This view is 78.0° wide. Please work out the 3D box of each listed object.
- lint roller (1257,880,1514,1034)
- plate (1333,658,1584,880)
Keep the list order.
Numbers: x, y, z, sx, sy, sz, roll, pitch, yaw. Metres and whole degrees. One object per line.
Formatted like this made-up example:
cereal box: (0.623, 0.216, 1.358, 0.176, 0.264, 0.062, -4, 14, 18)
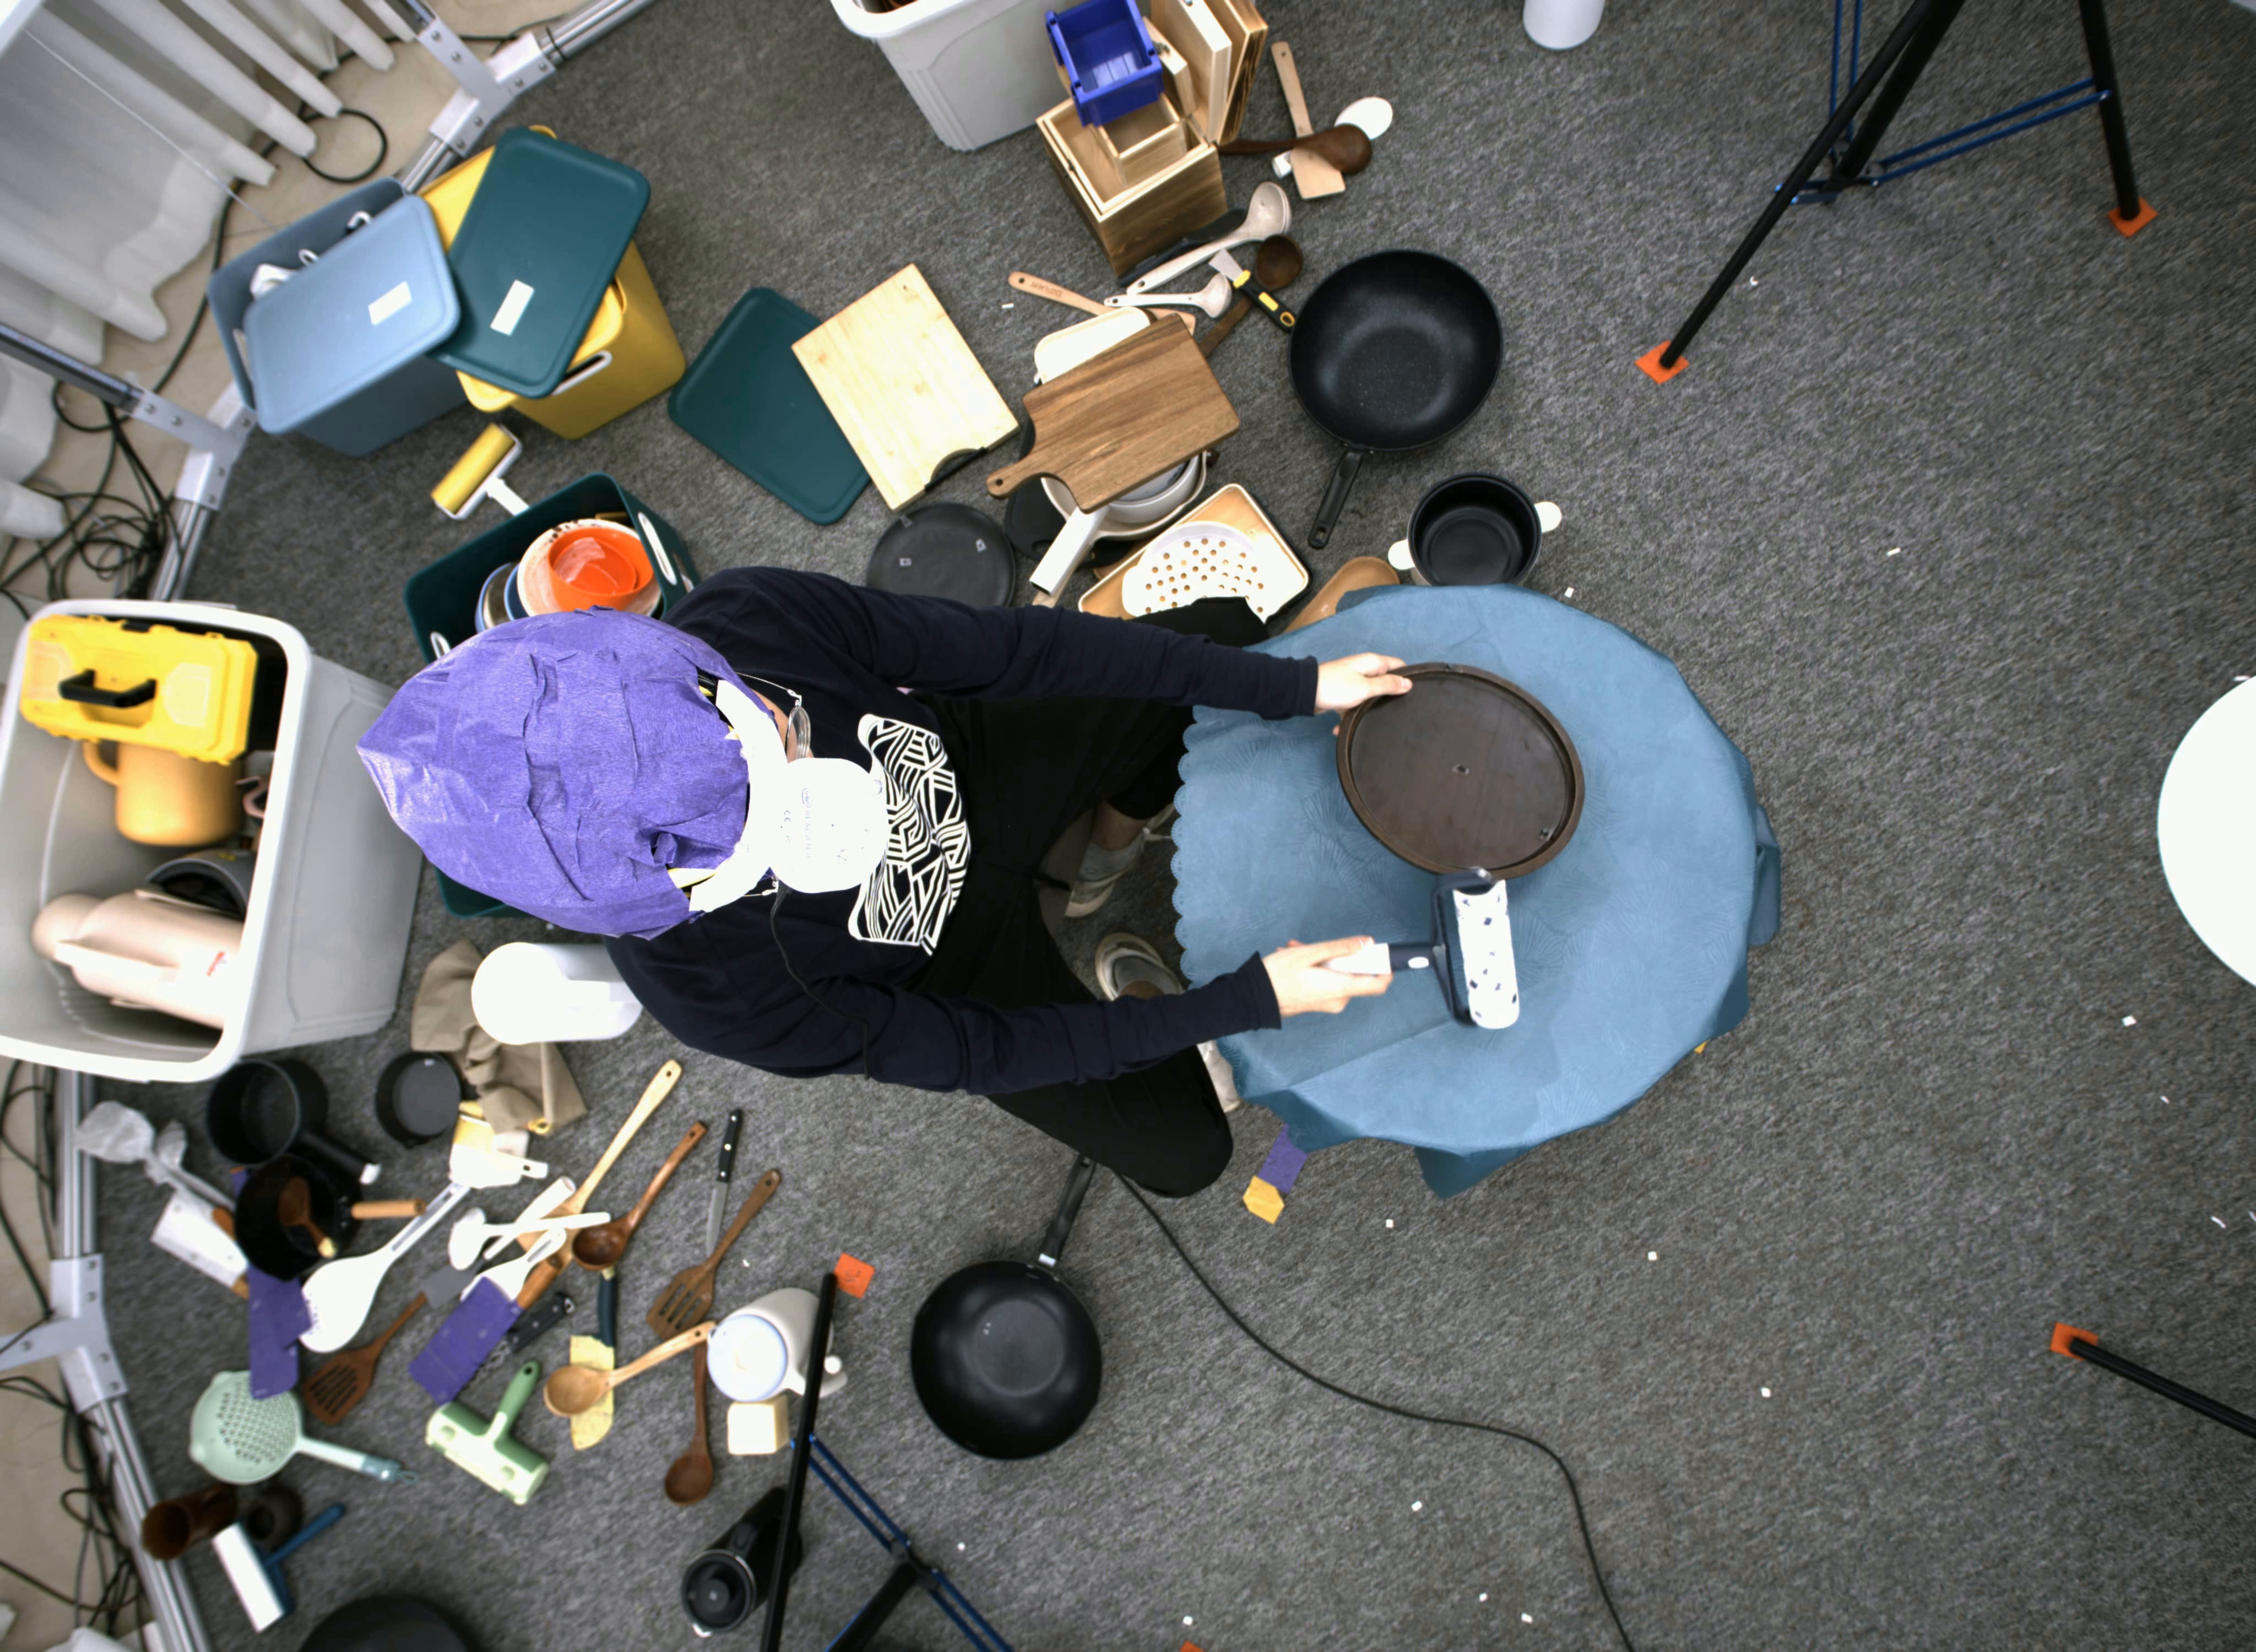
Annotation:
lint roller: (0.247, 0.136, 1.348, 0.248, 0.049, 0.180, -6, 126, 15)
plate: (0.328, -0.060, 1.366, 0.255, 0.029, 0.249, 2, 63, -4)
